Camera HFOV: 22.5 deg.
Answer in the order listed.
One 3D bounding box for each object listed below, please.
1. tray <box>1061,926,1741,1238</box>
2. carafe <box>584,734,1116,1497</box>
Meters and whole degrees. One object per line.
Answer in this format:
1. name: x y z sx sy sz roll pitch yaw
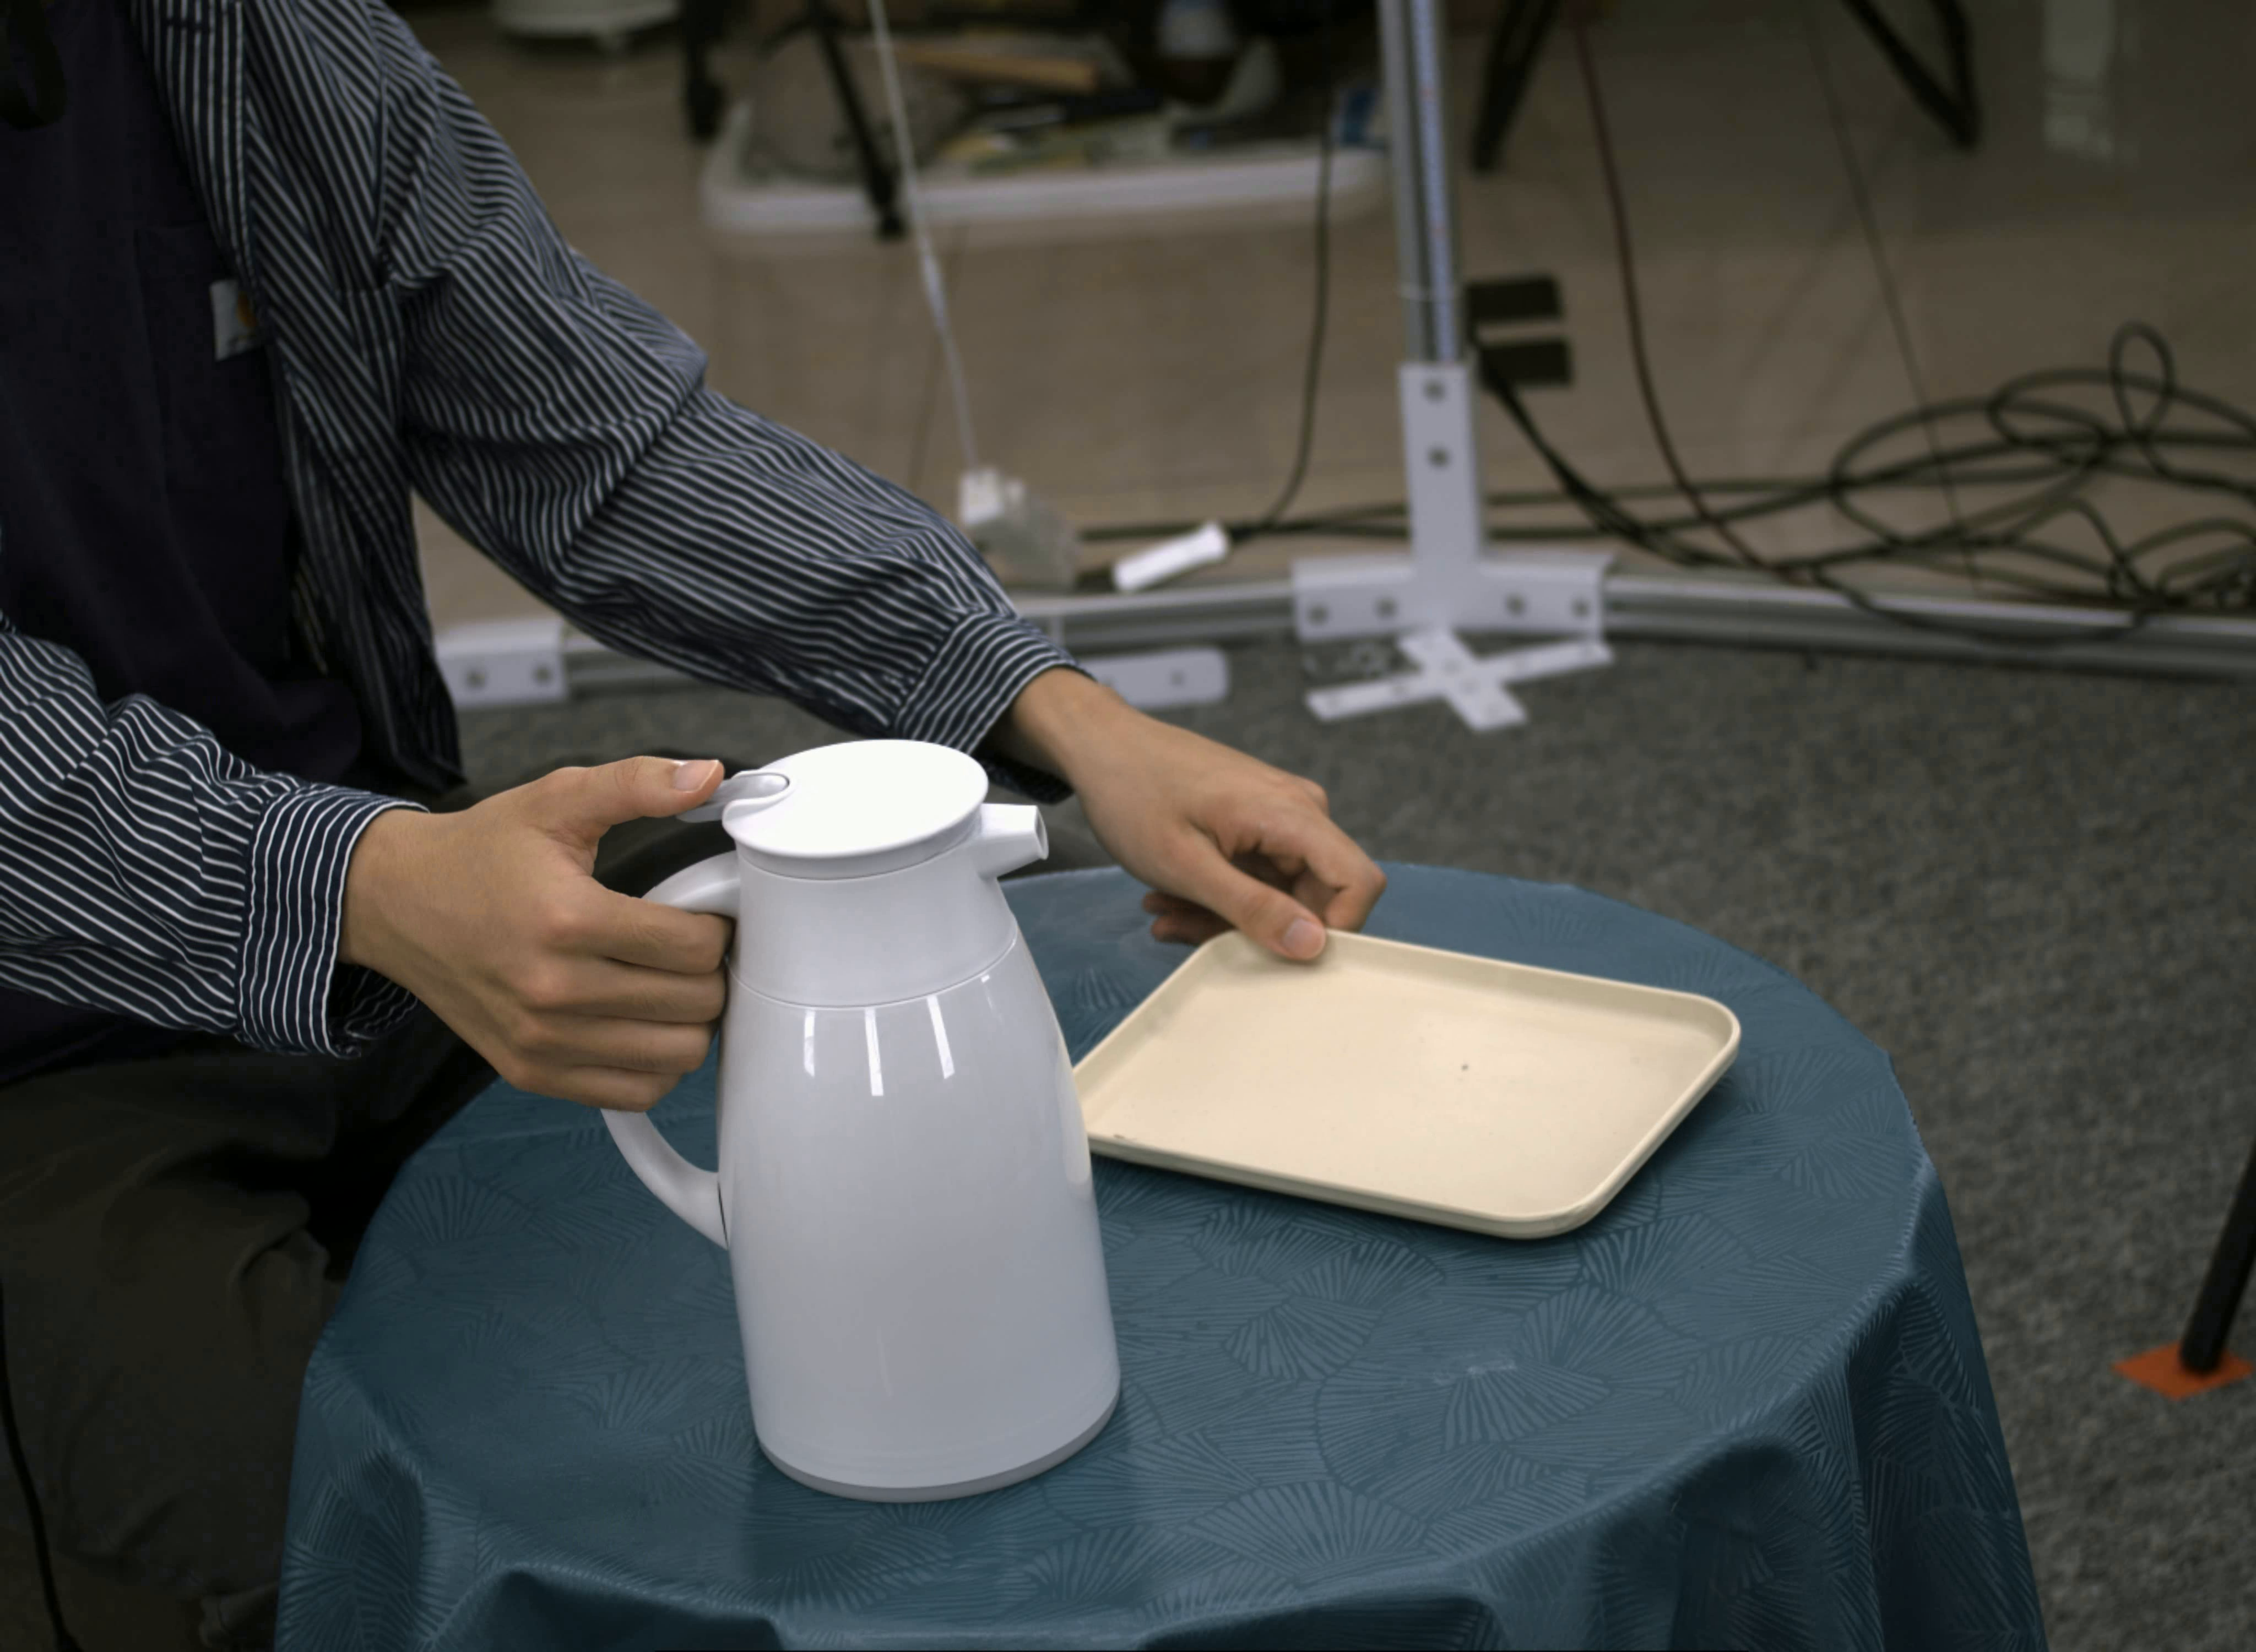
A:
1. tray: 0.103 0.098 2.182 0.238 0.018 0.169 10 33 30
2. carafe: -0.101 0.096 1.967 0.167 0.253 0.130 -7 27 1
